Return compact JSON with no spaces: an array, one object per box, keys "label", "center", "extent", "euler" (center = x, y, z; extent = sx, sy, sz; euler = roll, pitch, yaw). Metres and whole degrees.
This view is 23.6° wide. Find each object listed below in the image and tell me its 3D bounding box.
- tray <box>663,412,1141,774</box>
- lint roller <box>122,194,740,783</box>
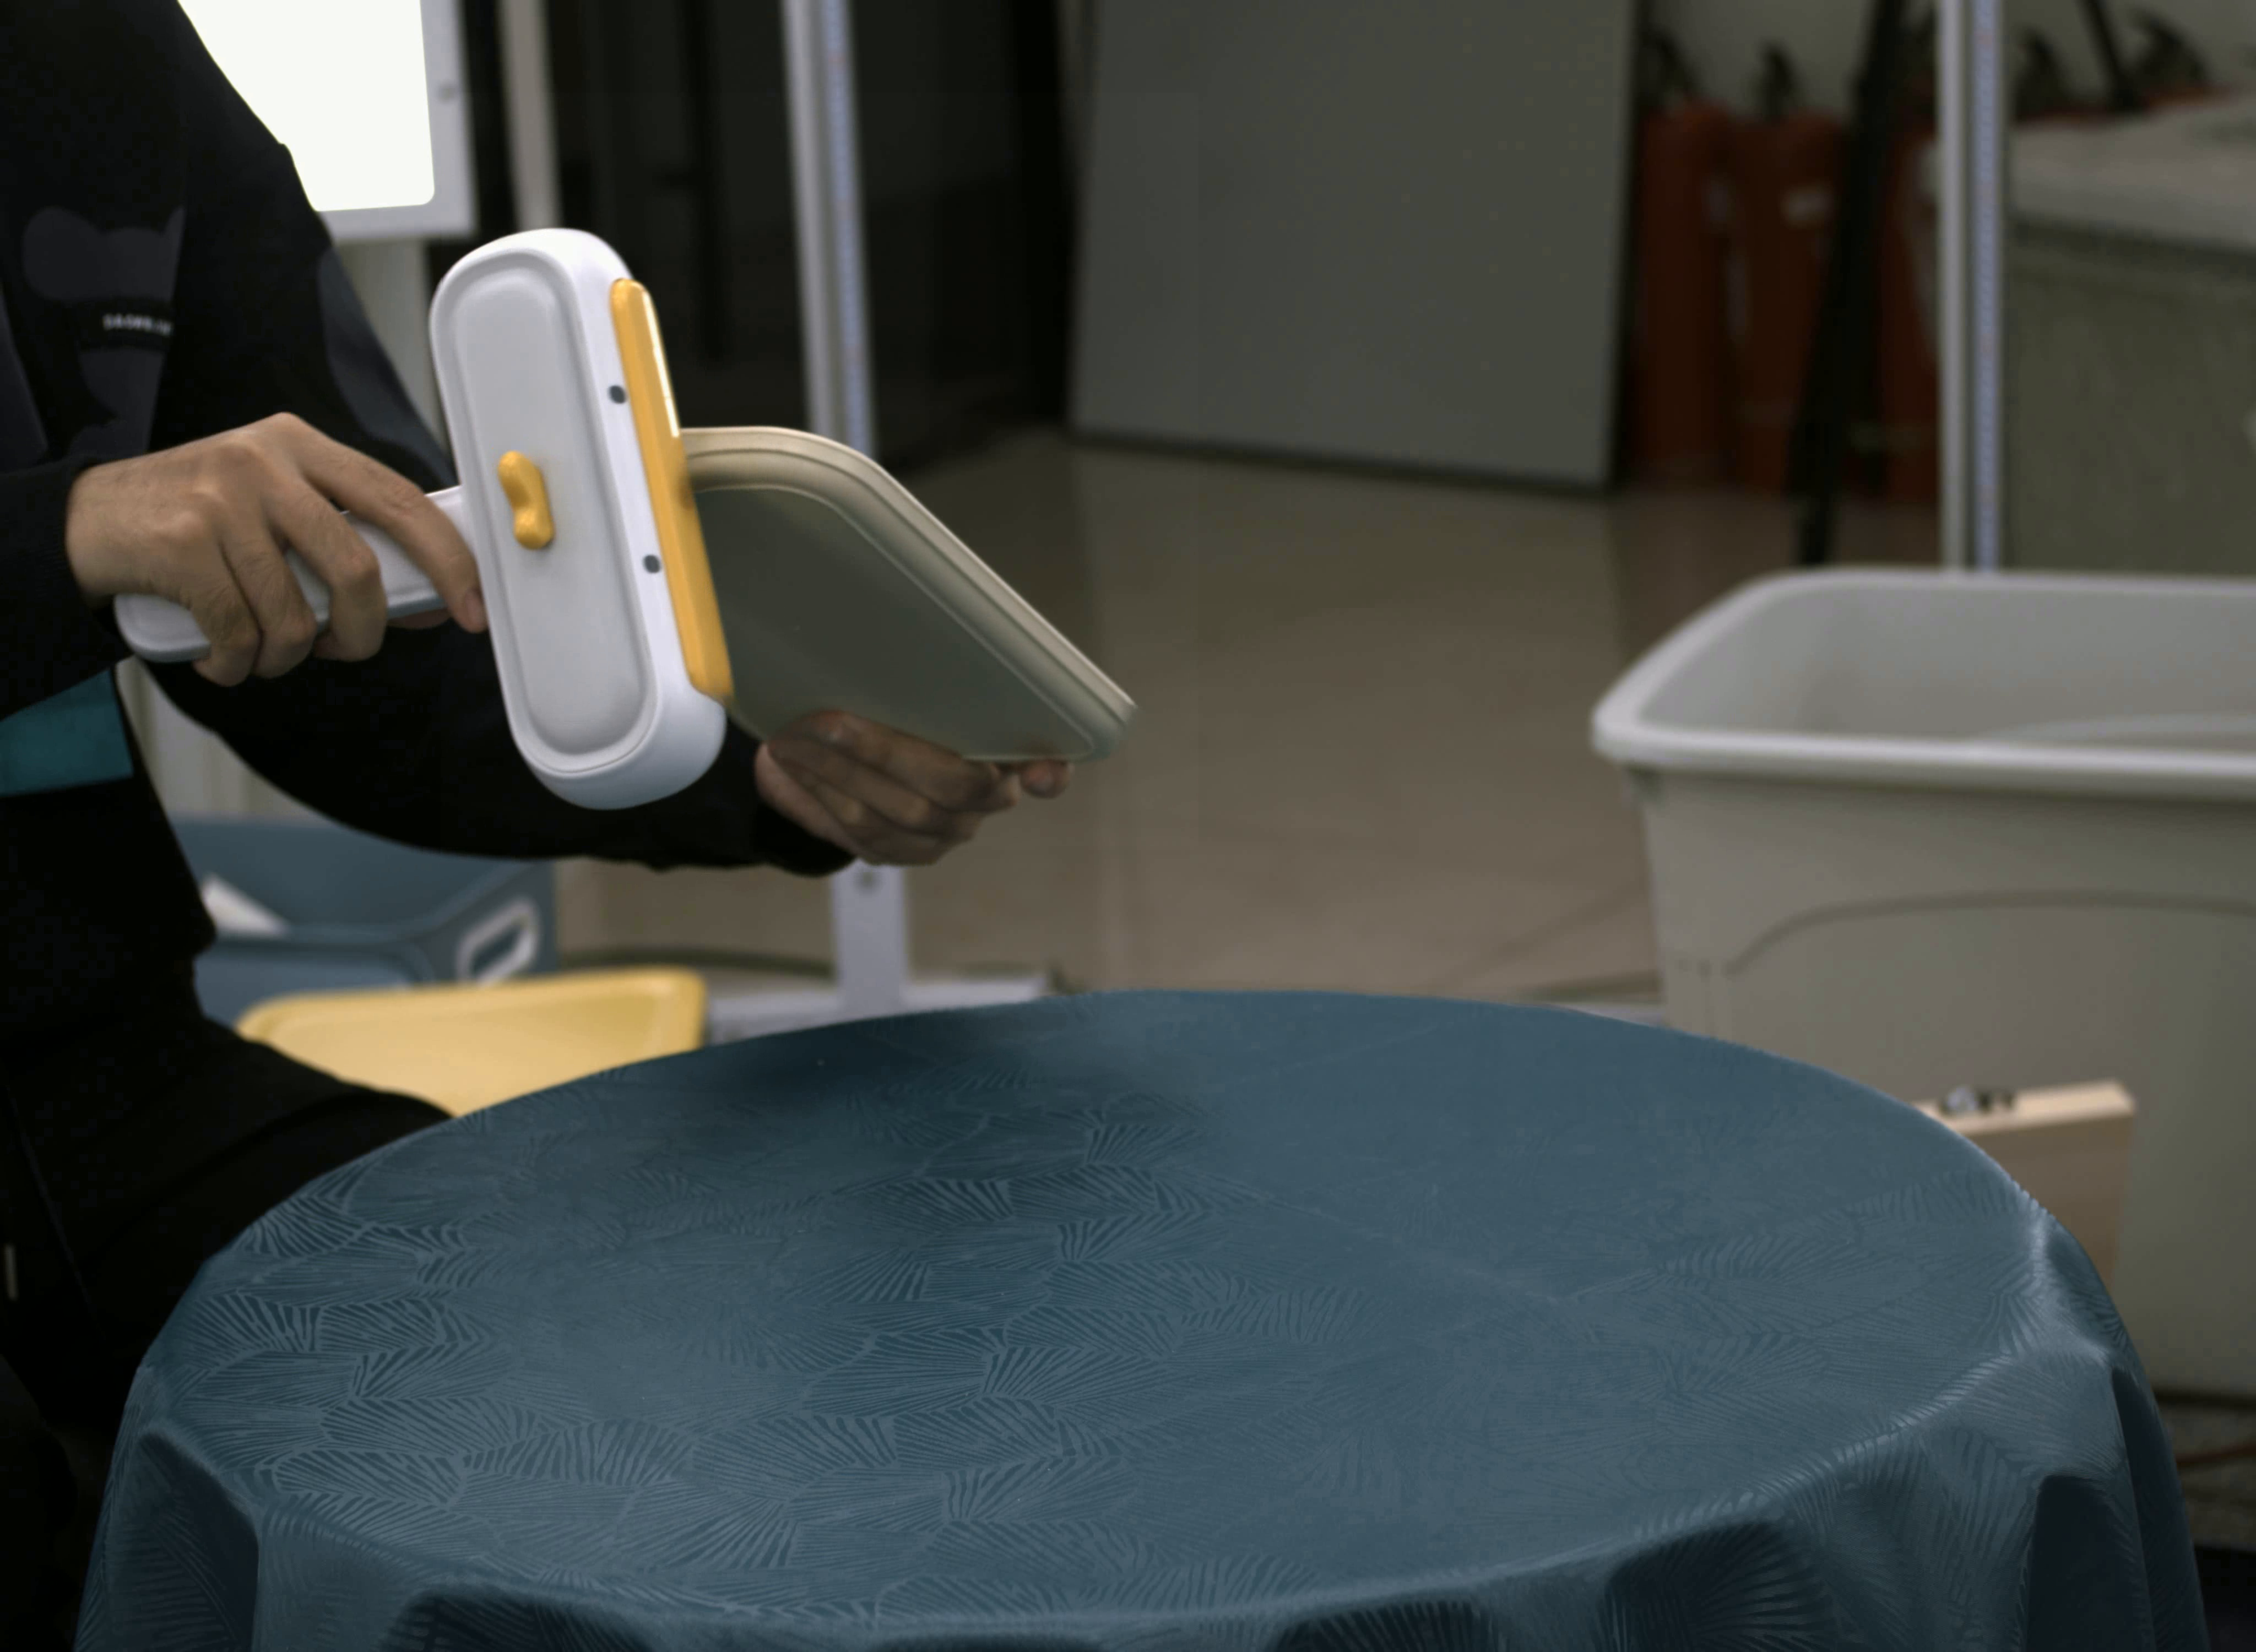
[{"label":"tray","center":[-0.112,-0.075,1.877],"extent":[0.172,0.017,0.236],"euler":[-1,-27,32]},{"label":"lint roller","center":[-0.234,-0.092,1.769],"extent":[0.192,0.195,0.073],"euler":[-18,-6,13]}]
